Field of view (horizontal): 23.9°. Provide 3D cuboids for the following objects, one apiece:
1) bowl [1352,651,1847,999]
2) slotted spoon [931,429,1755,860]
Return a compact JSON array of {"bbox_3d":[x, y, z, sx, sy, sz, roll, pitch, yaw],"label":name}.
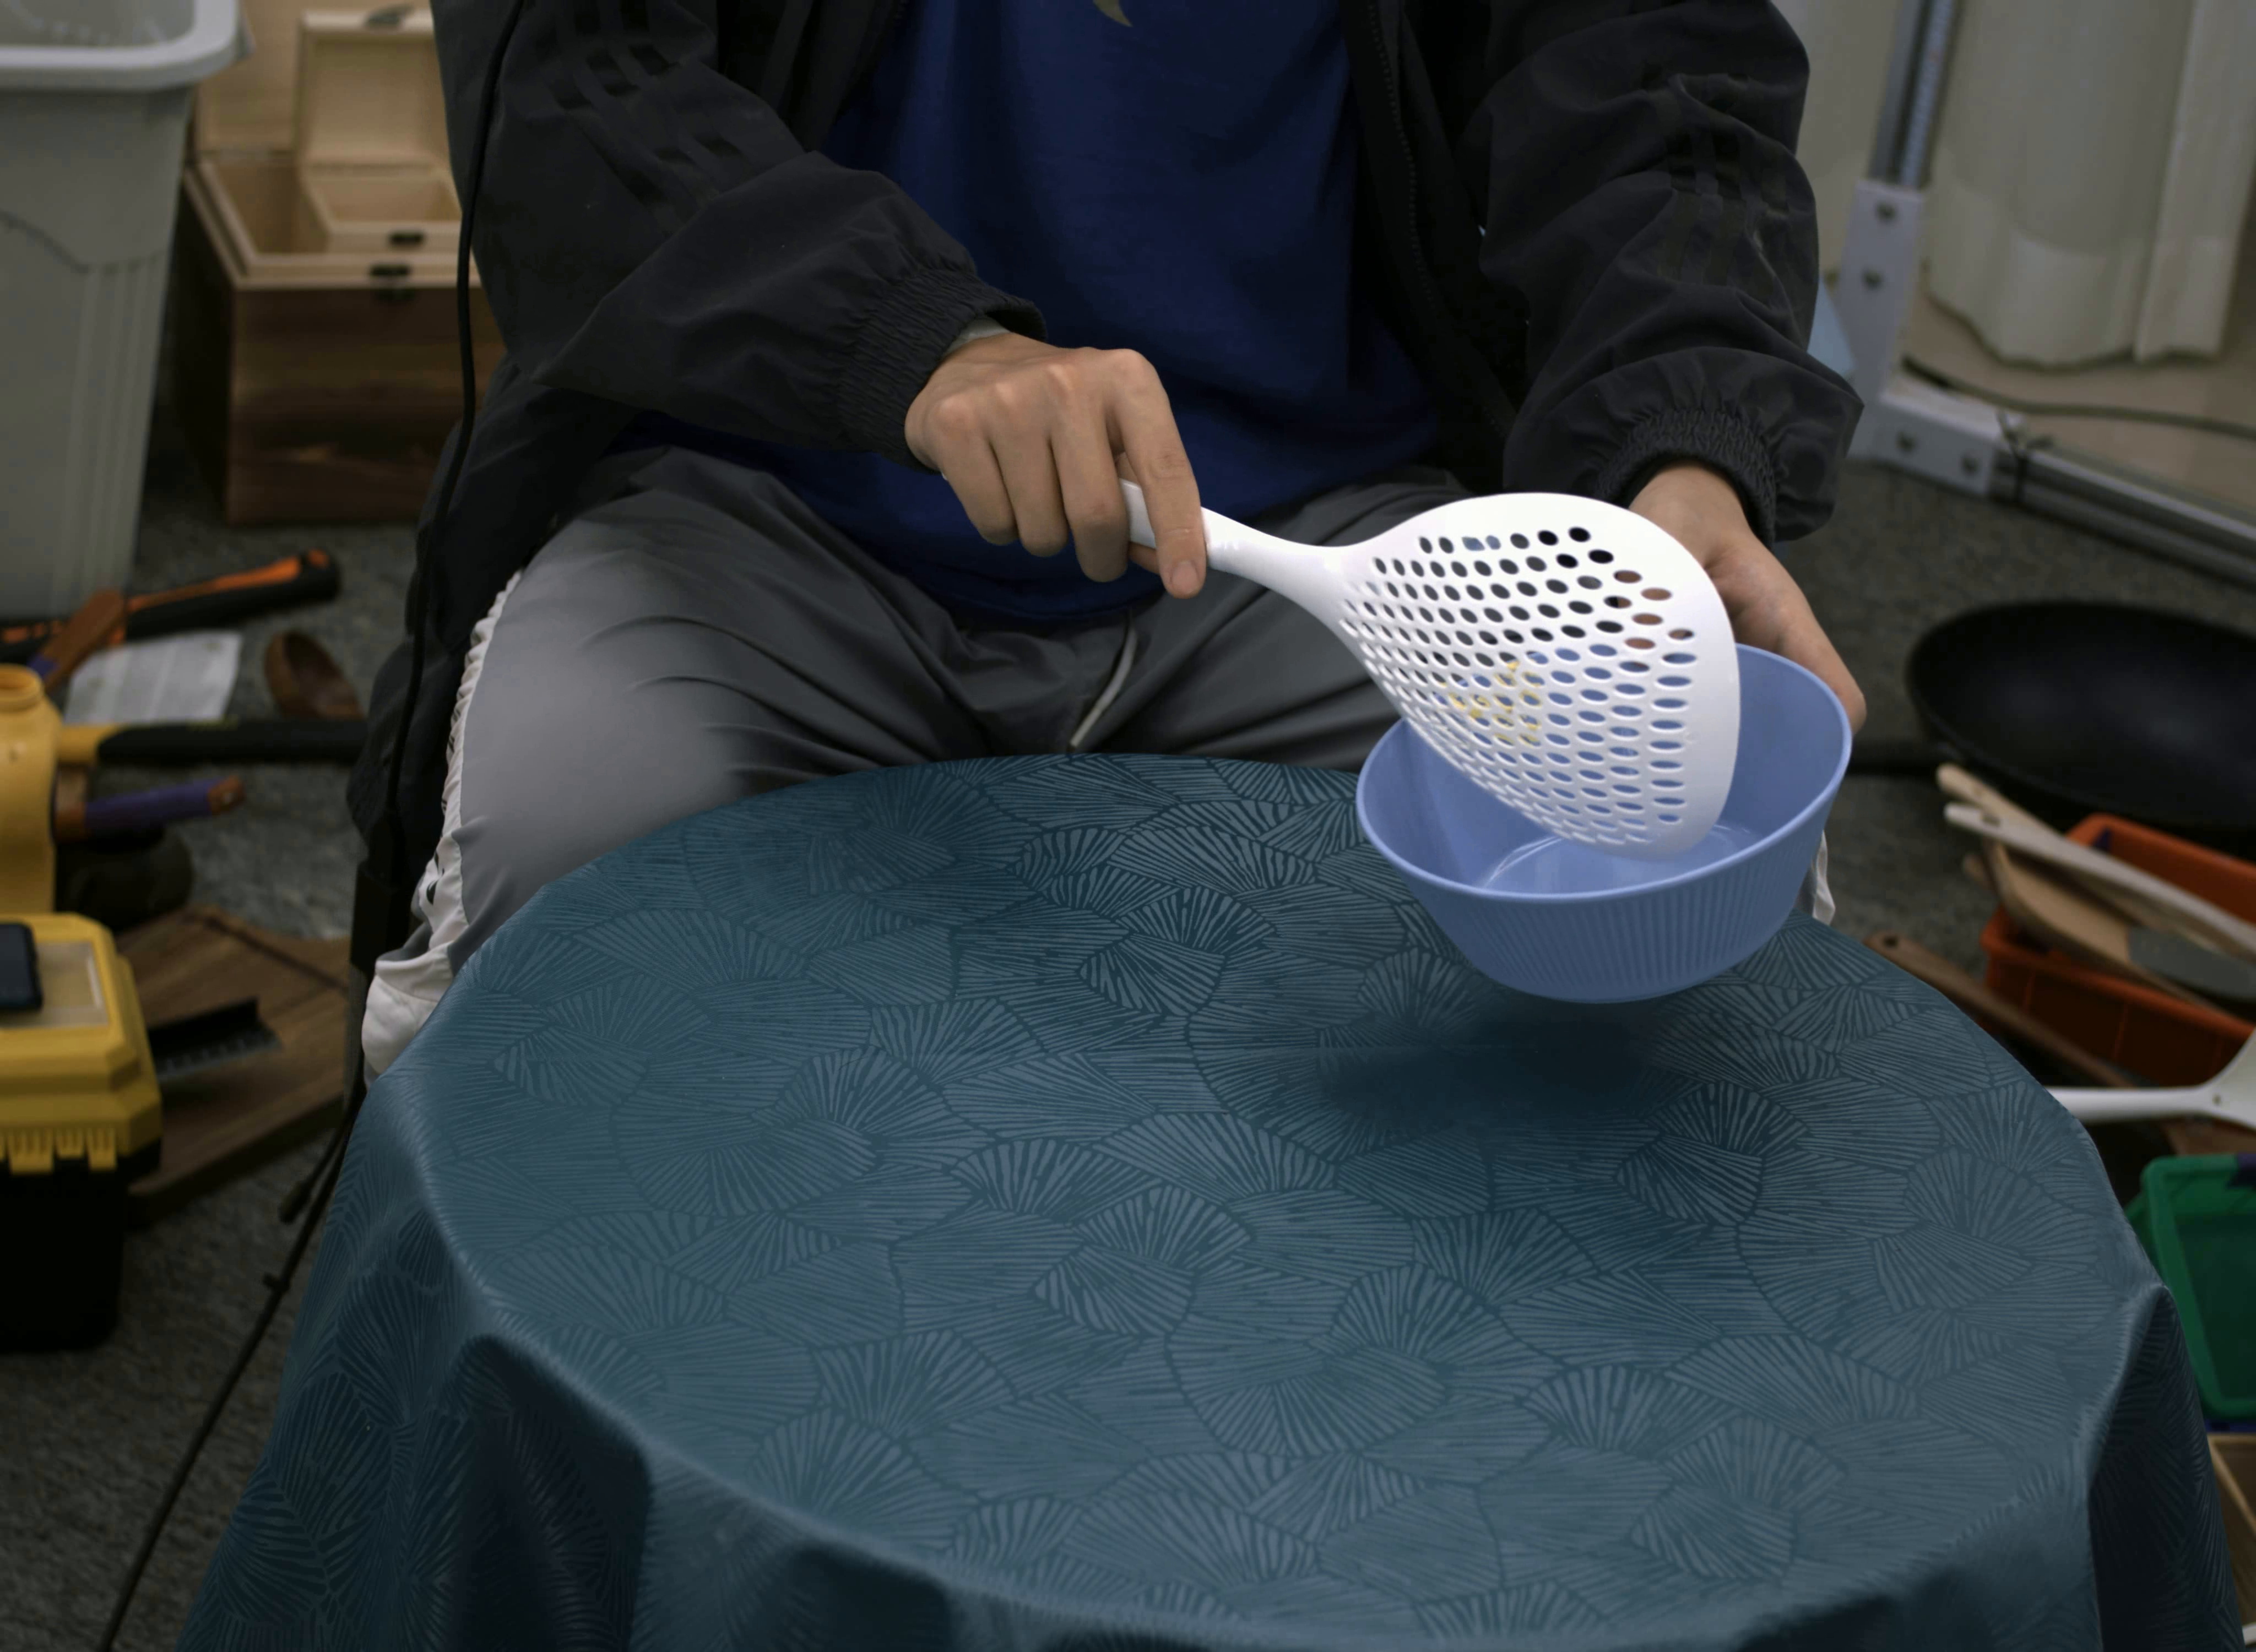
[{"bbox_3d":[0.171,0.005,1.886,0.176,0.070,0.177,-11,28,5],"label":"bowl"},{"bbox_3d":[0.071,-0.084,1.916,0.350,0.136,0.050,25,37,35],"label":"slotted spoon"}]
